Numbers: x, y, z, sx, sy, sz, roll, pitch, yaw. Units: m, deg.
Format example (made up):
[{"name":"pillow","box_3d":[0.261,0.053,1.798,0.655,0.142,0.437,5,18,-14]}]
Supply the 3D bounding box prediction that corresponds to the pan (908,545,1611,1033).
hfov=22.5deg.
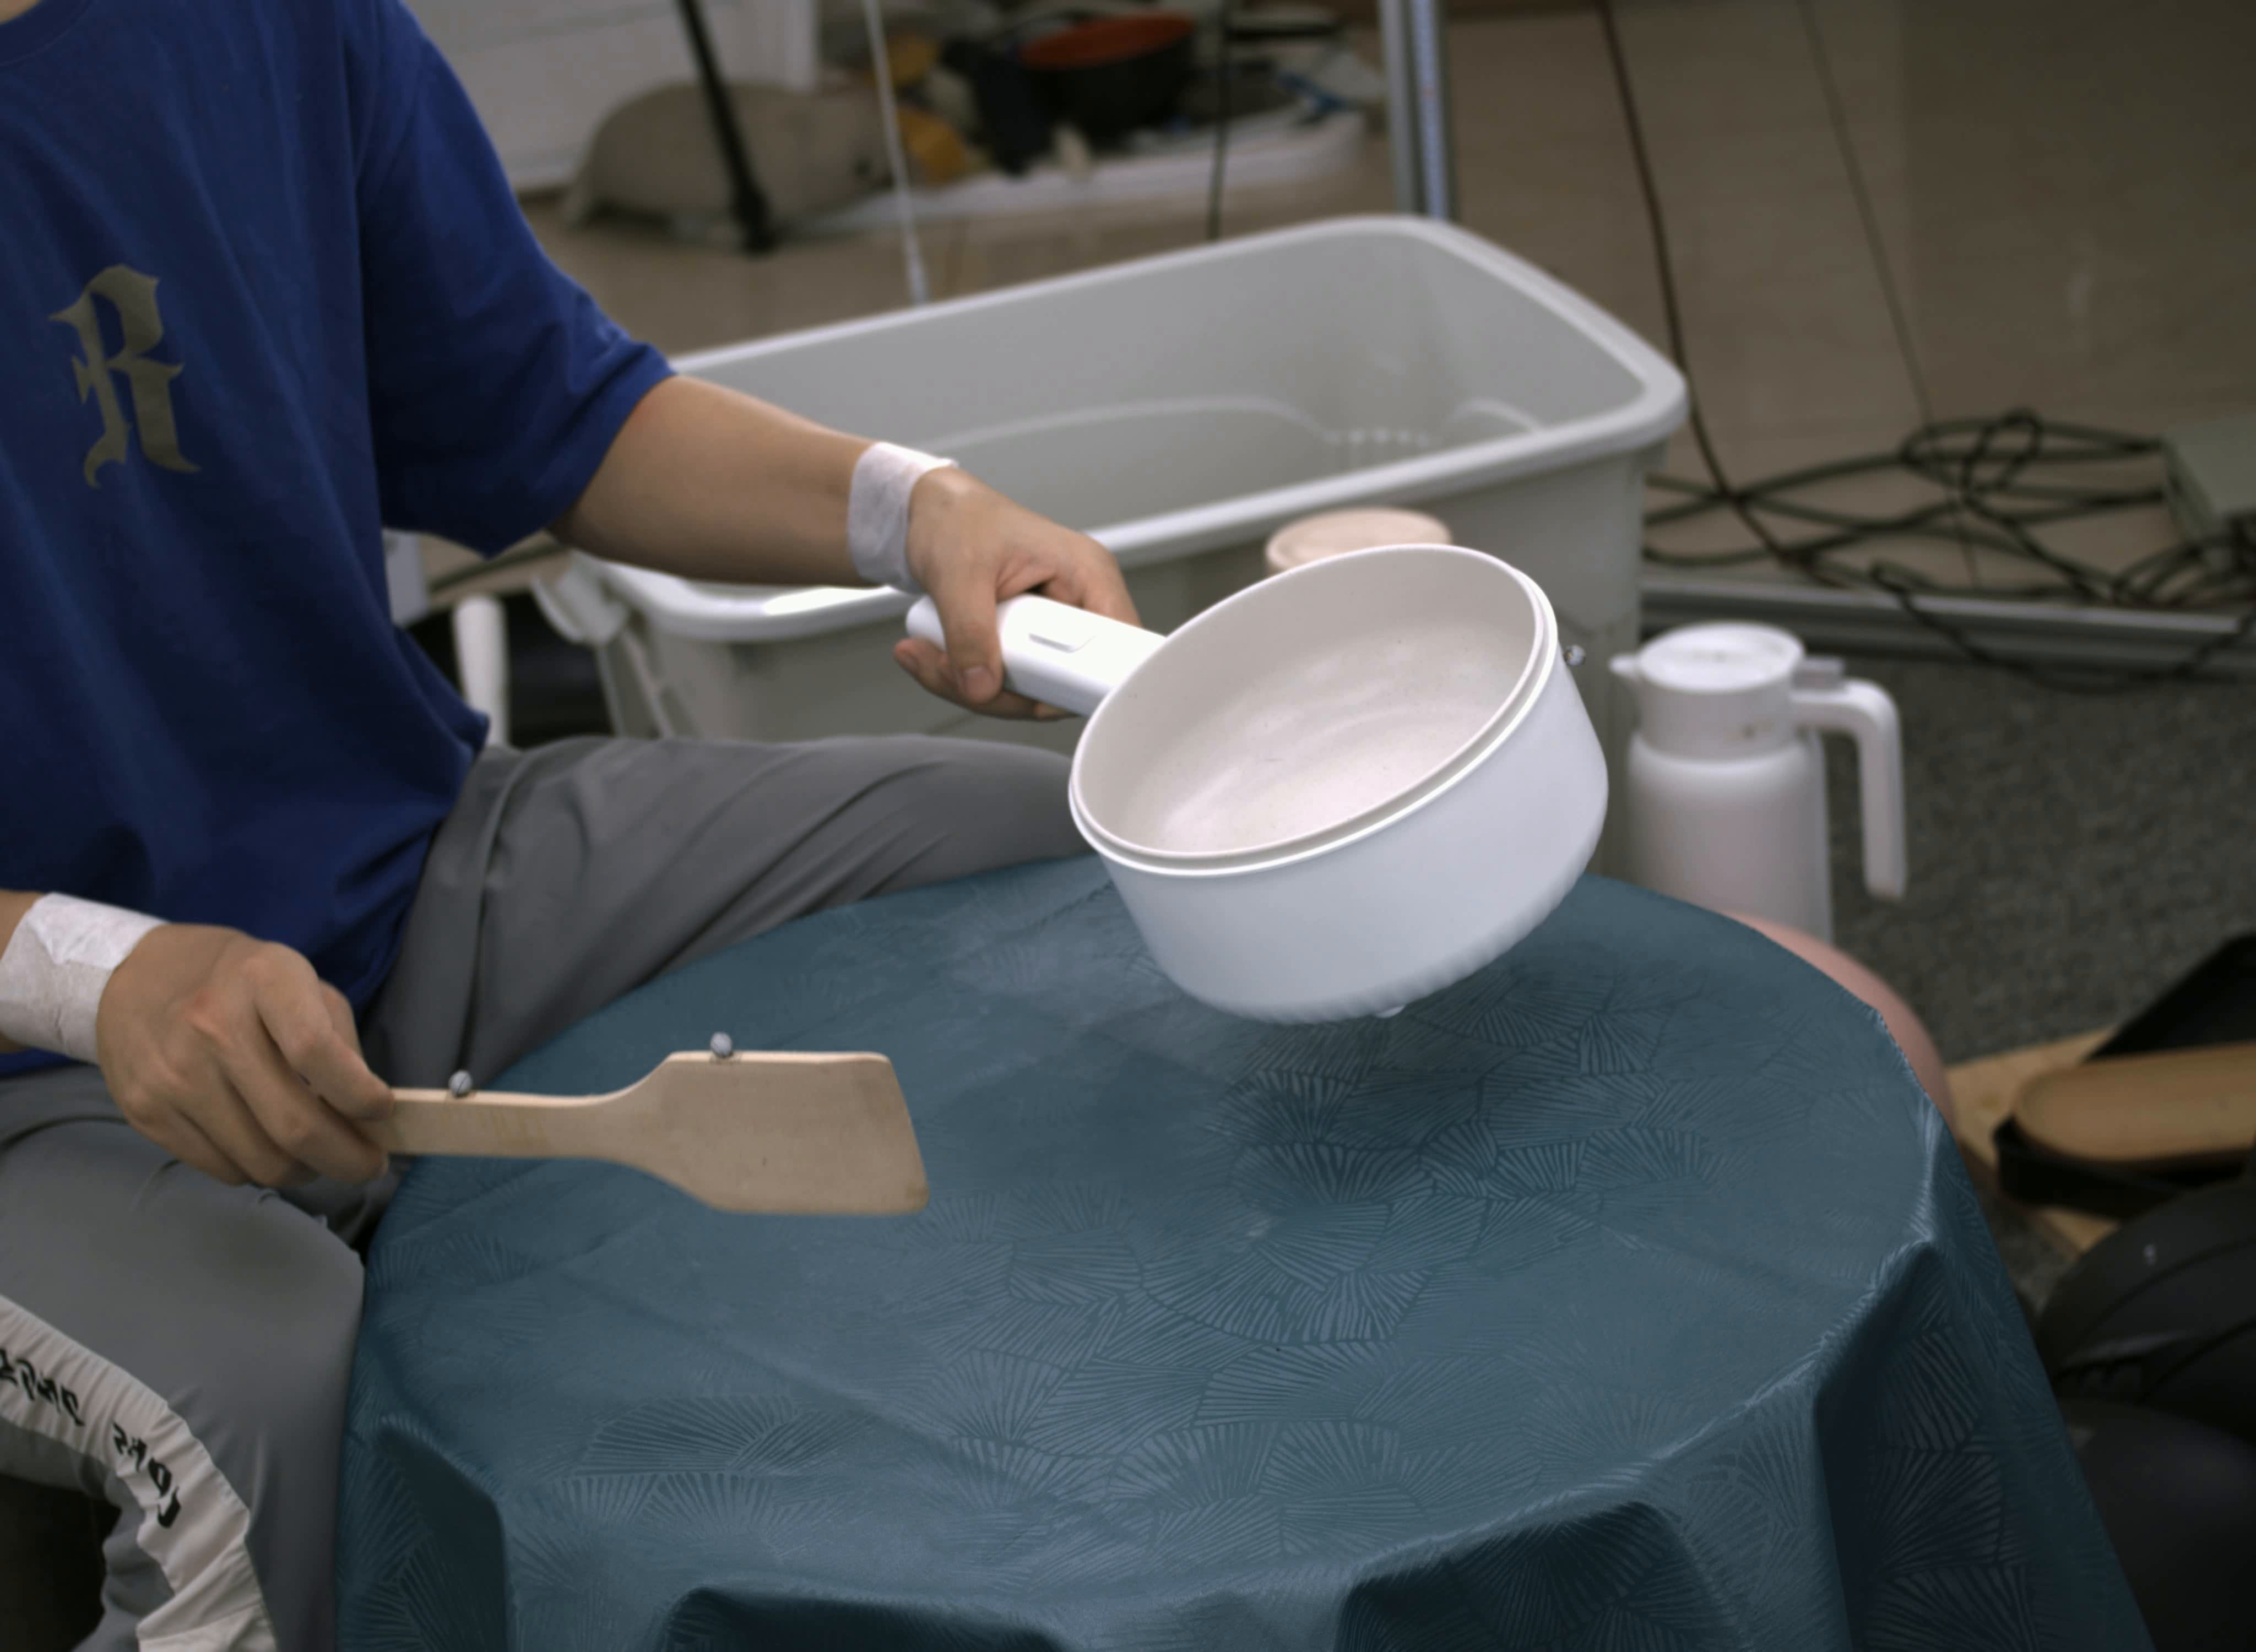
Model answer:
[{"name":"pan","box_3d":[0.041,-0.026,2.261,0.199,0.104,0.352,-43,35,-21]}]

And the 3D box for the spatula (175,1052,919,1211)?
[{"name":"spatula","box_3d":[-0.215,0.105,2.037,0.292,0.073,0.010,1,40,22]}]
